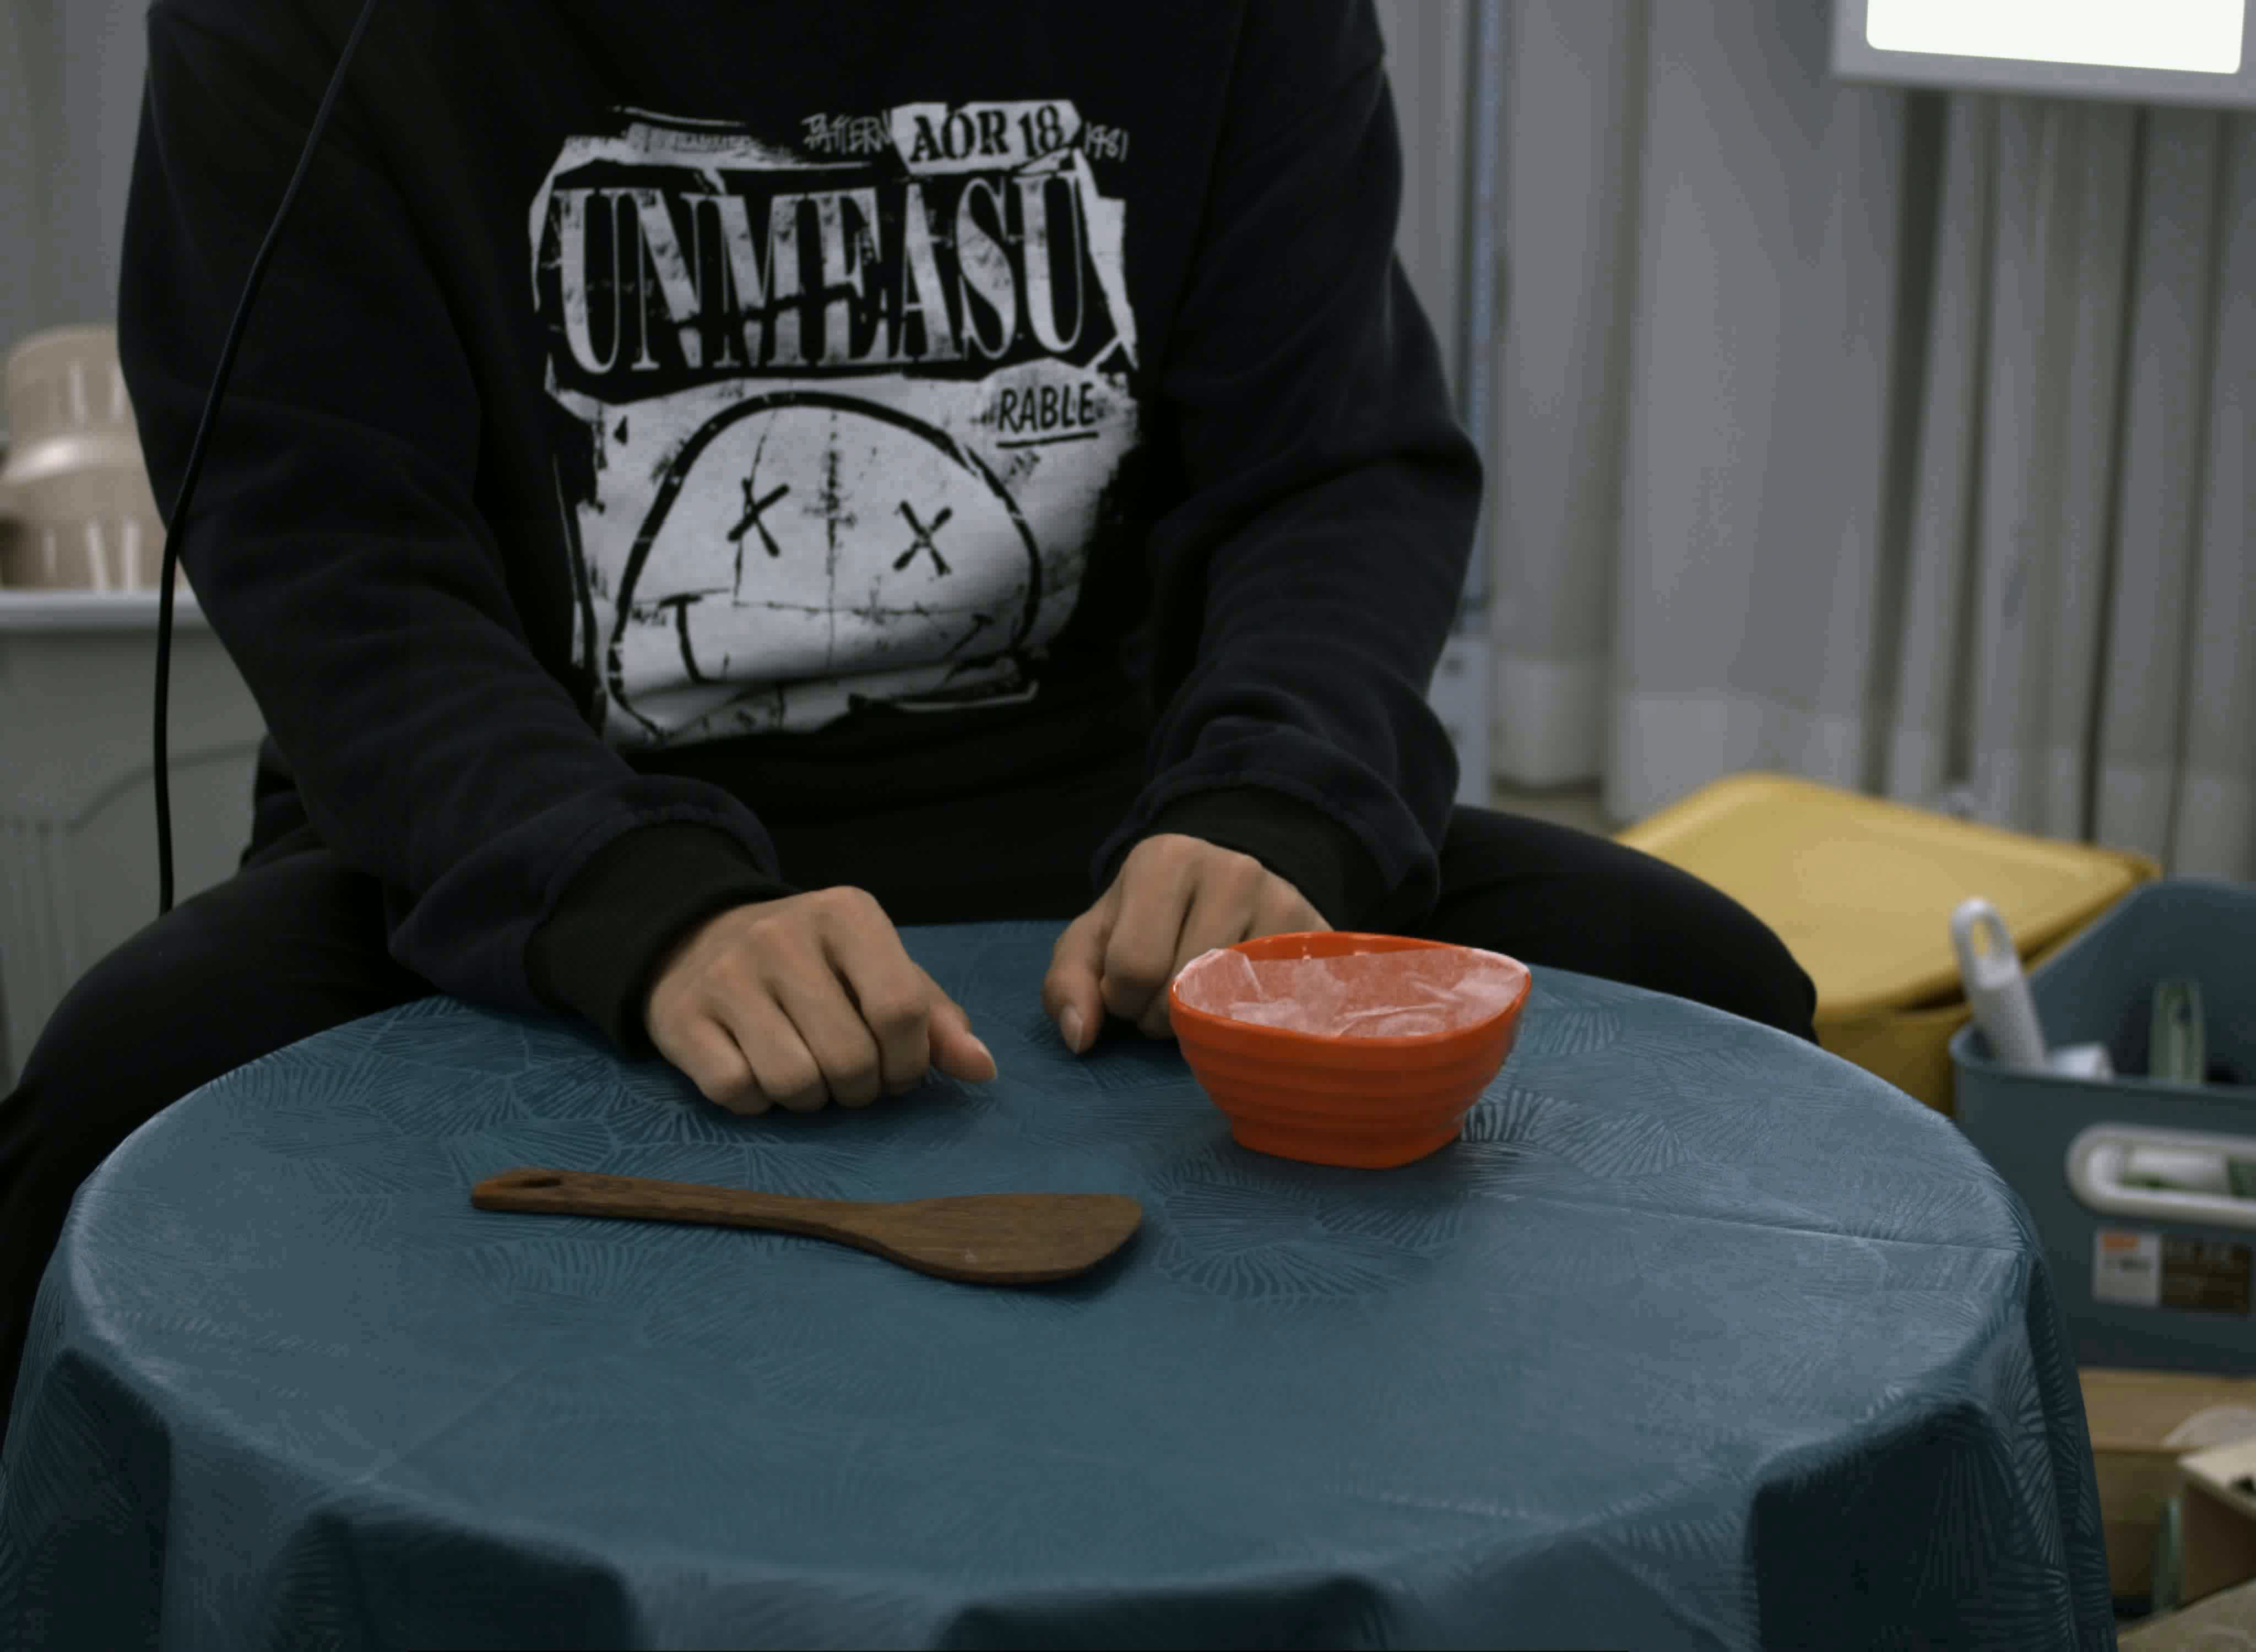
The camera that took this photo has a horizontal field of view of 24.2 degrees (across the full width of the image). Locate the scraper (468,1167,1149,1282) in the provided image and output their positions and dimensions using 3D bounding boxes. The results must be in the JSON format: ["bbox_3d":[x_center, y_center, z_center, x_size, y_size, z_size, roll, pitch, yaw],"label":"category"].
[{"bbox_3d":[-0.099,0.117,1.591,0.209,0.011,0.076,4,15,15],"label":"scraper"}]

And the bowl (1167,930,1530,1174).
[{"bbox_3d":[0.070,0.074,1.676,0.118,0.052,0.118,0,17,1],"label":"bowl"}]
